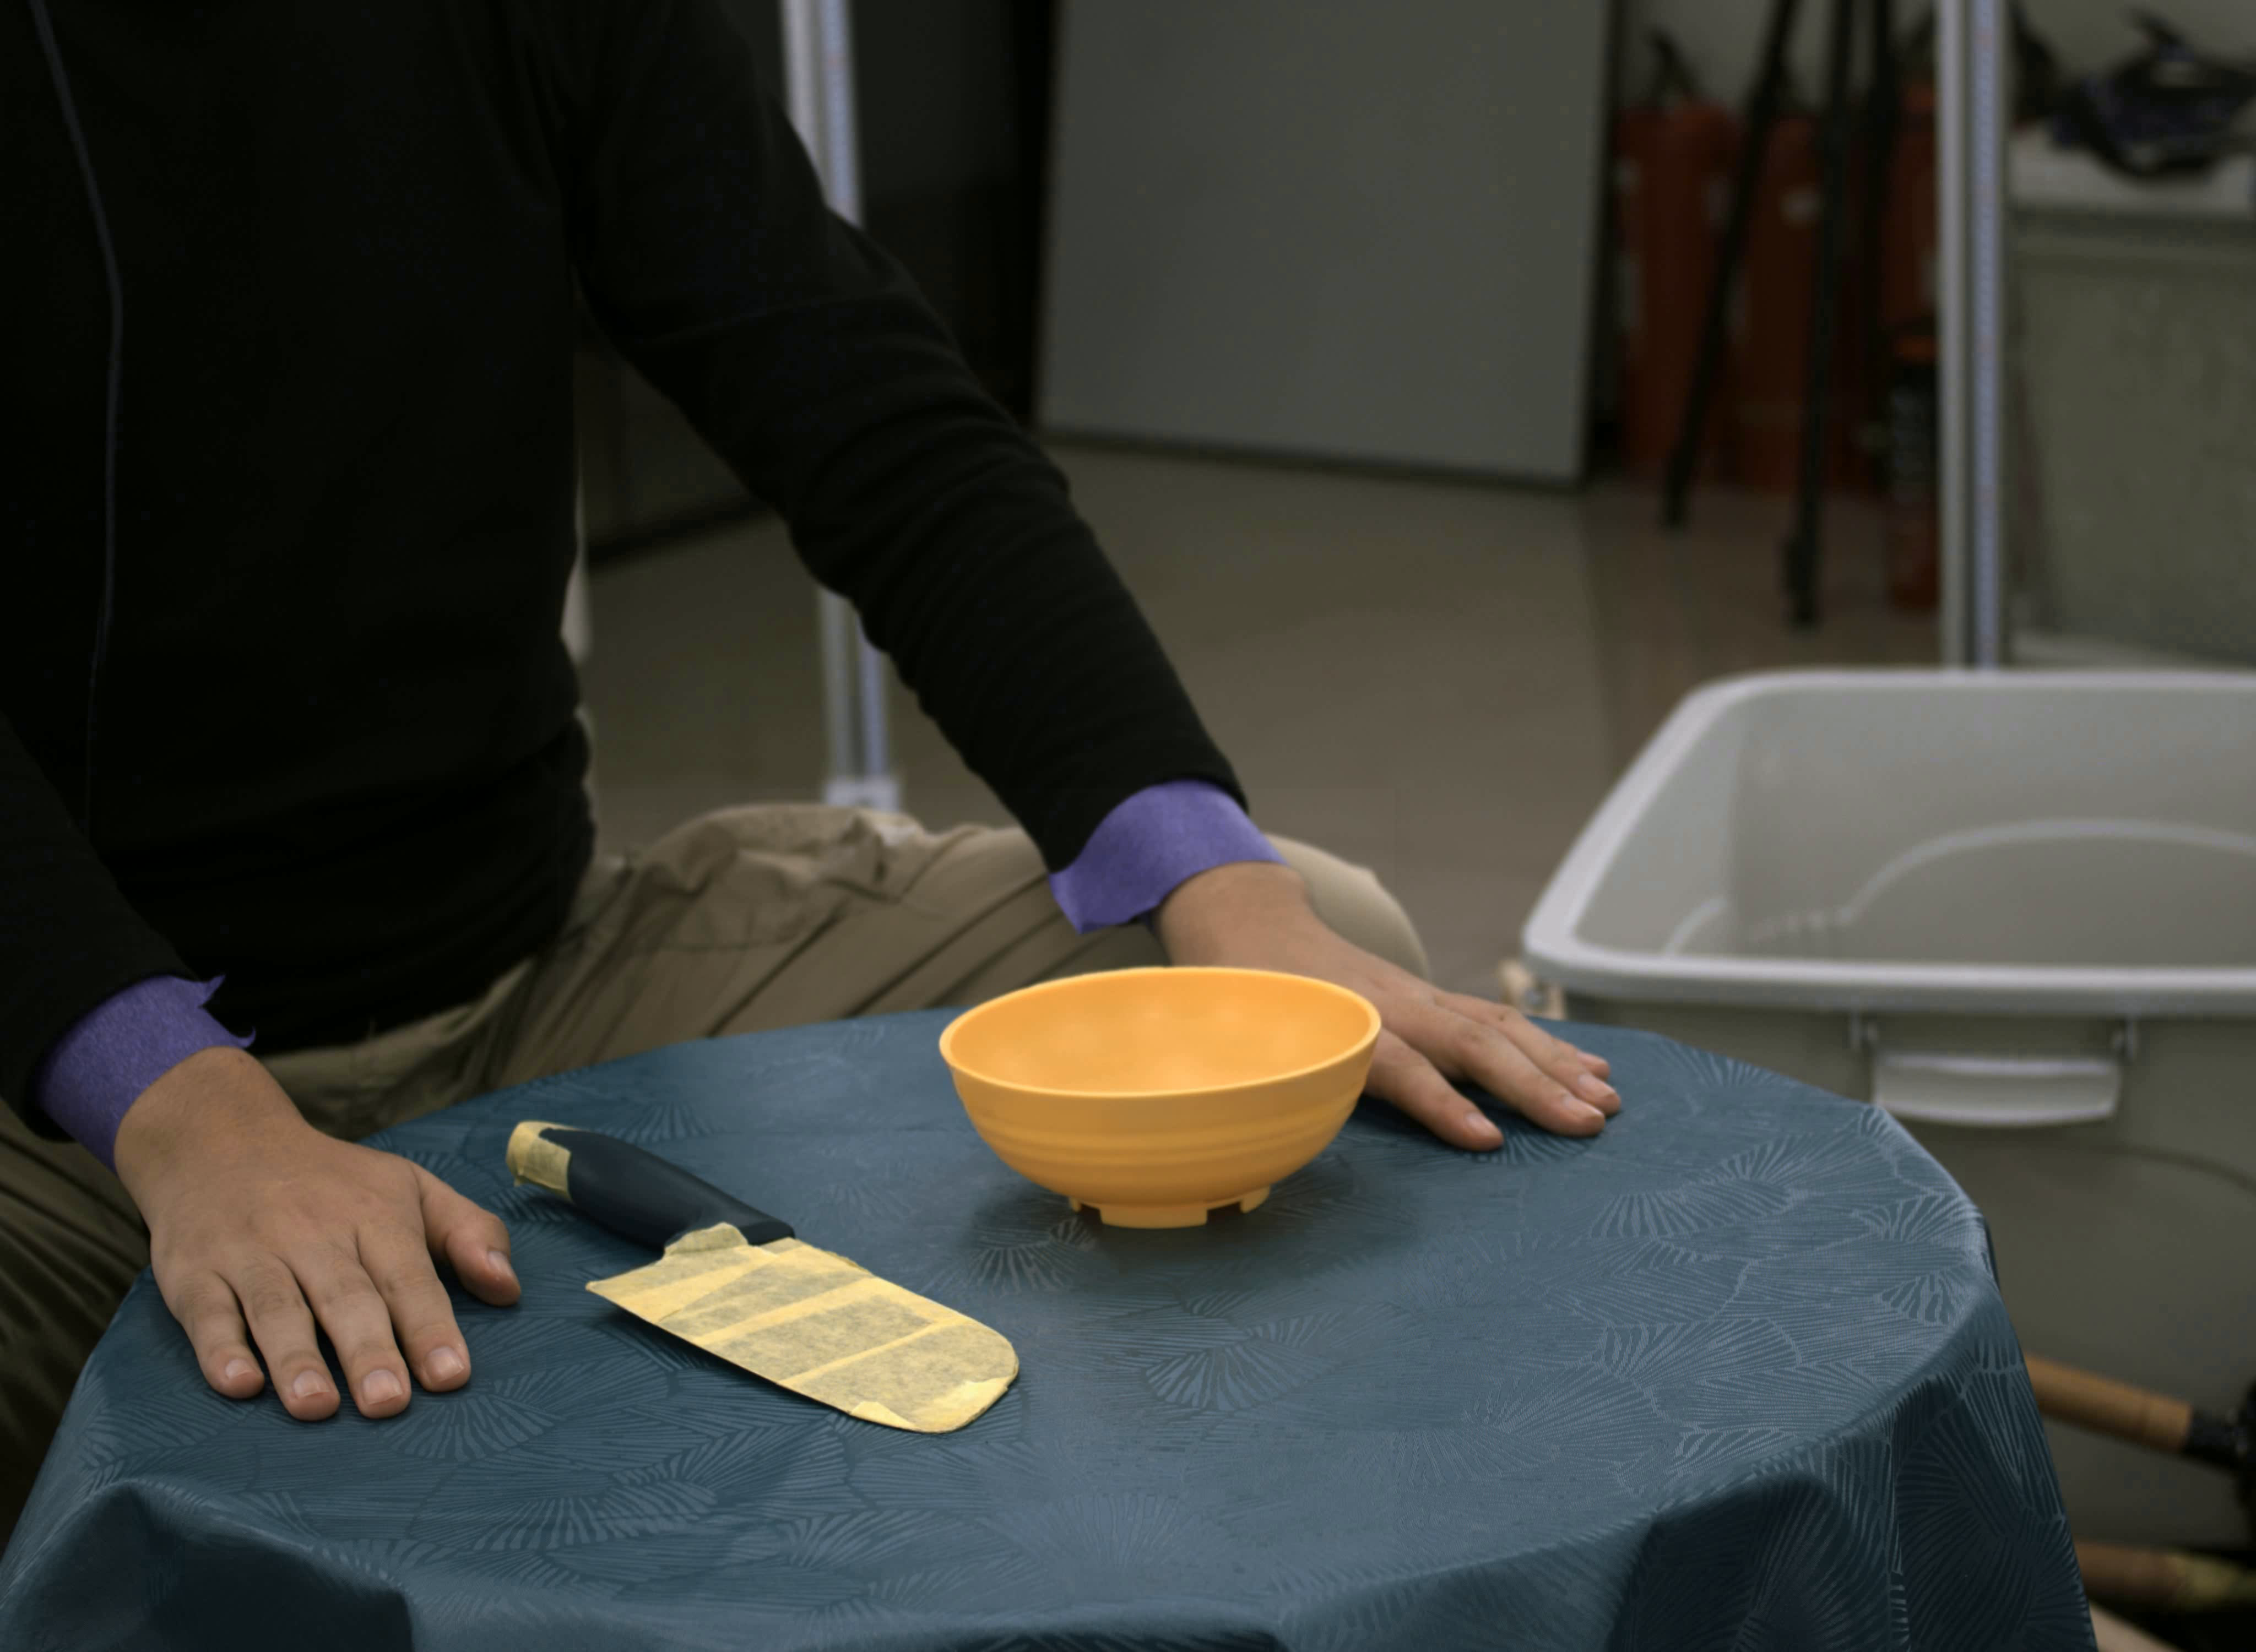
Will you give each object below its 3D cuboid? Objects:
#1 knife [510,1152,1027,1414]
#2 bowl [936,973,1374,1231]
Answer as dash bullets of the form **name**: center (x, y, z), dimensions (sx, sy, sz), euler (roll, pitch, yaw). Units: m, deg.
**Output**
- **knife**: center (-0.124, 0.144, 1.690), dimensions (0.079, 0.027, 0.292), euler (-12, 17, -33)
- **bowl**: center (0.009, 0.094, 1.759), dimensions (0.143, 0.061, 0.145), euler (-2, 13, 0)
